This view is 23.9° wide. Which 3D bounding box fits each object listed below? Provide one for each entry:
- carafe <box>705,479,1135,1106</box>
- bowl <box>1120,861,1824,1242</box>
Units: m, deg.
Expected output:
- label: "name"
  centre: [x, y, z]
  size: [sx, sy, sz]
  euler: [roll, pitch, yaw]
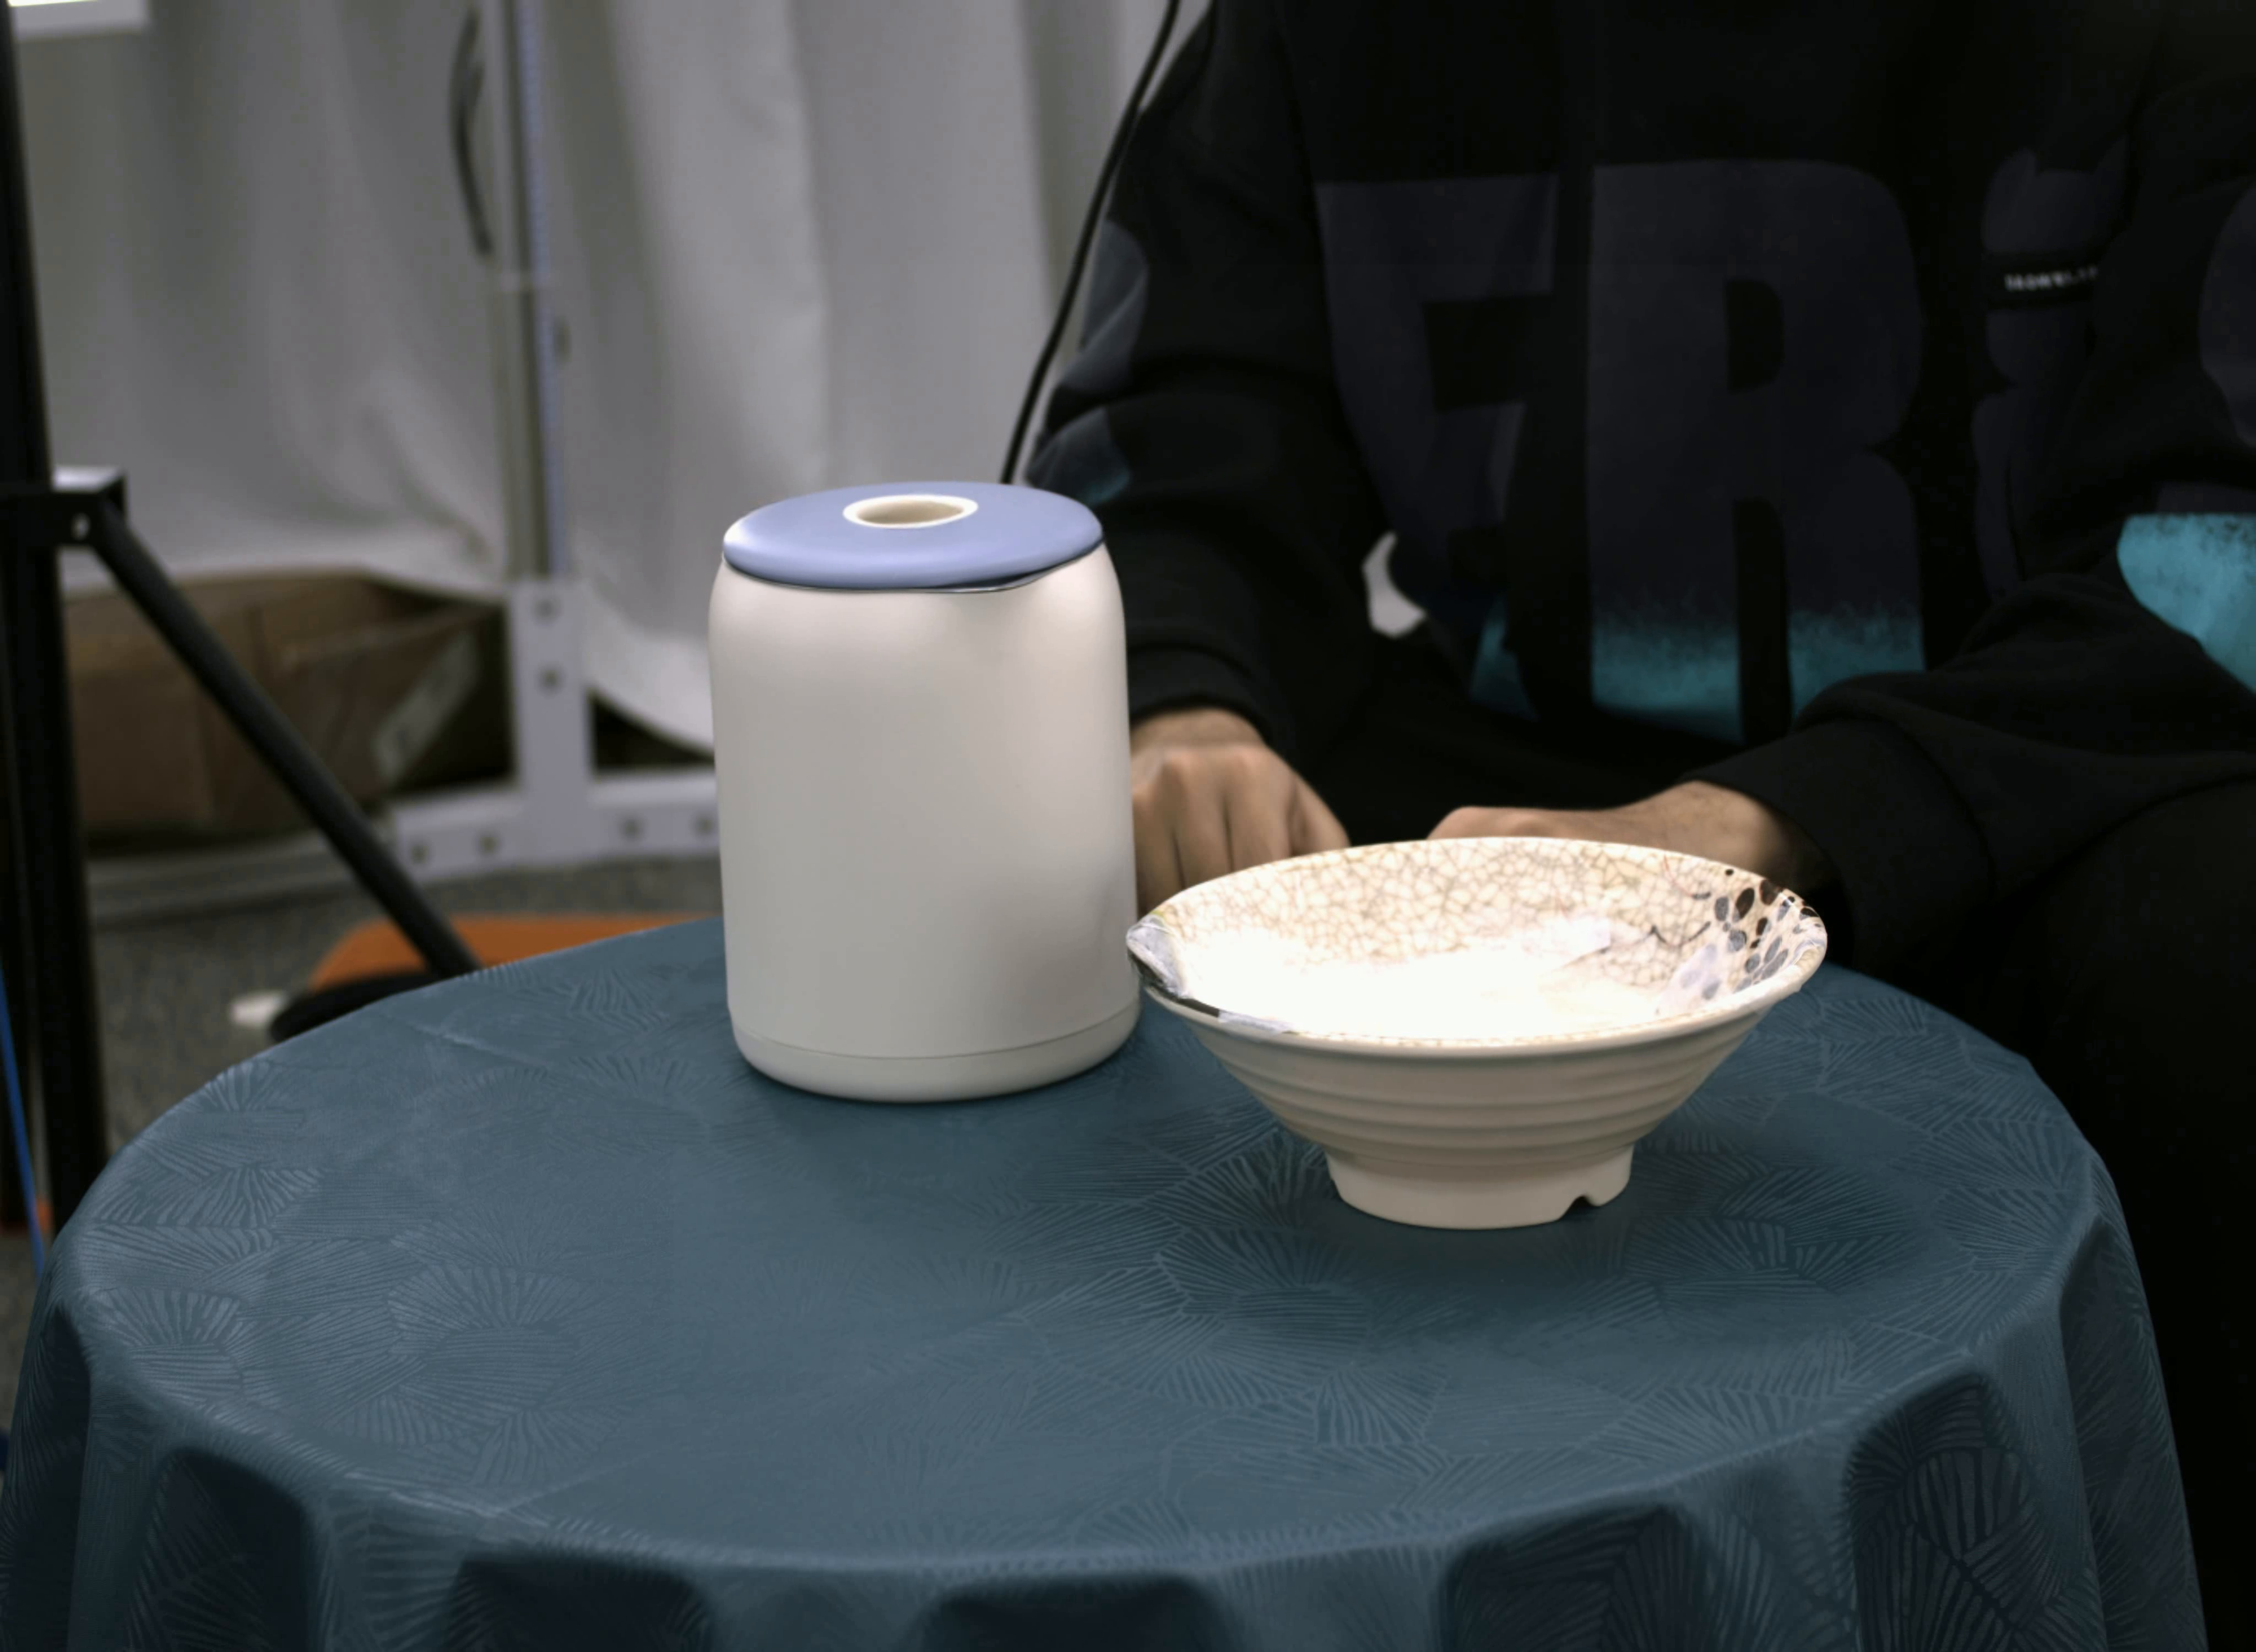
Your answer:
- label: "carafe"
  centre: [-0.076, -0.017, 1.699]
  size: [0.129, 0.182, 0.195]
  euler: [-9, 14, -25]
- label: "bowl"
  centre: [0.099, 0.071, 1.540]
  size: [0.203, 0.078, 0.205]
  euler: [0, 13, -1]
